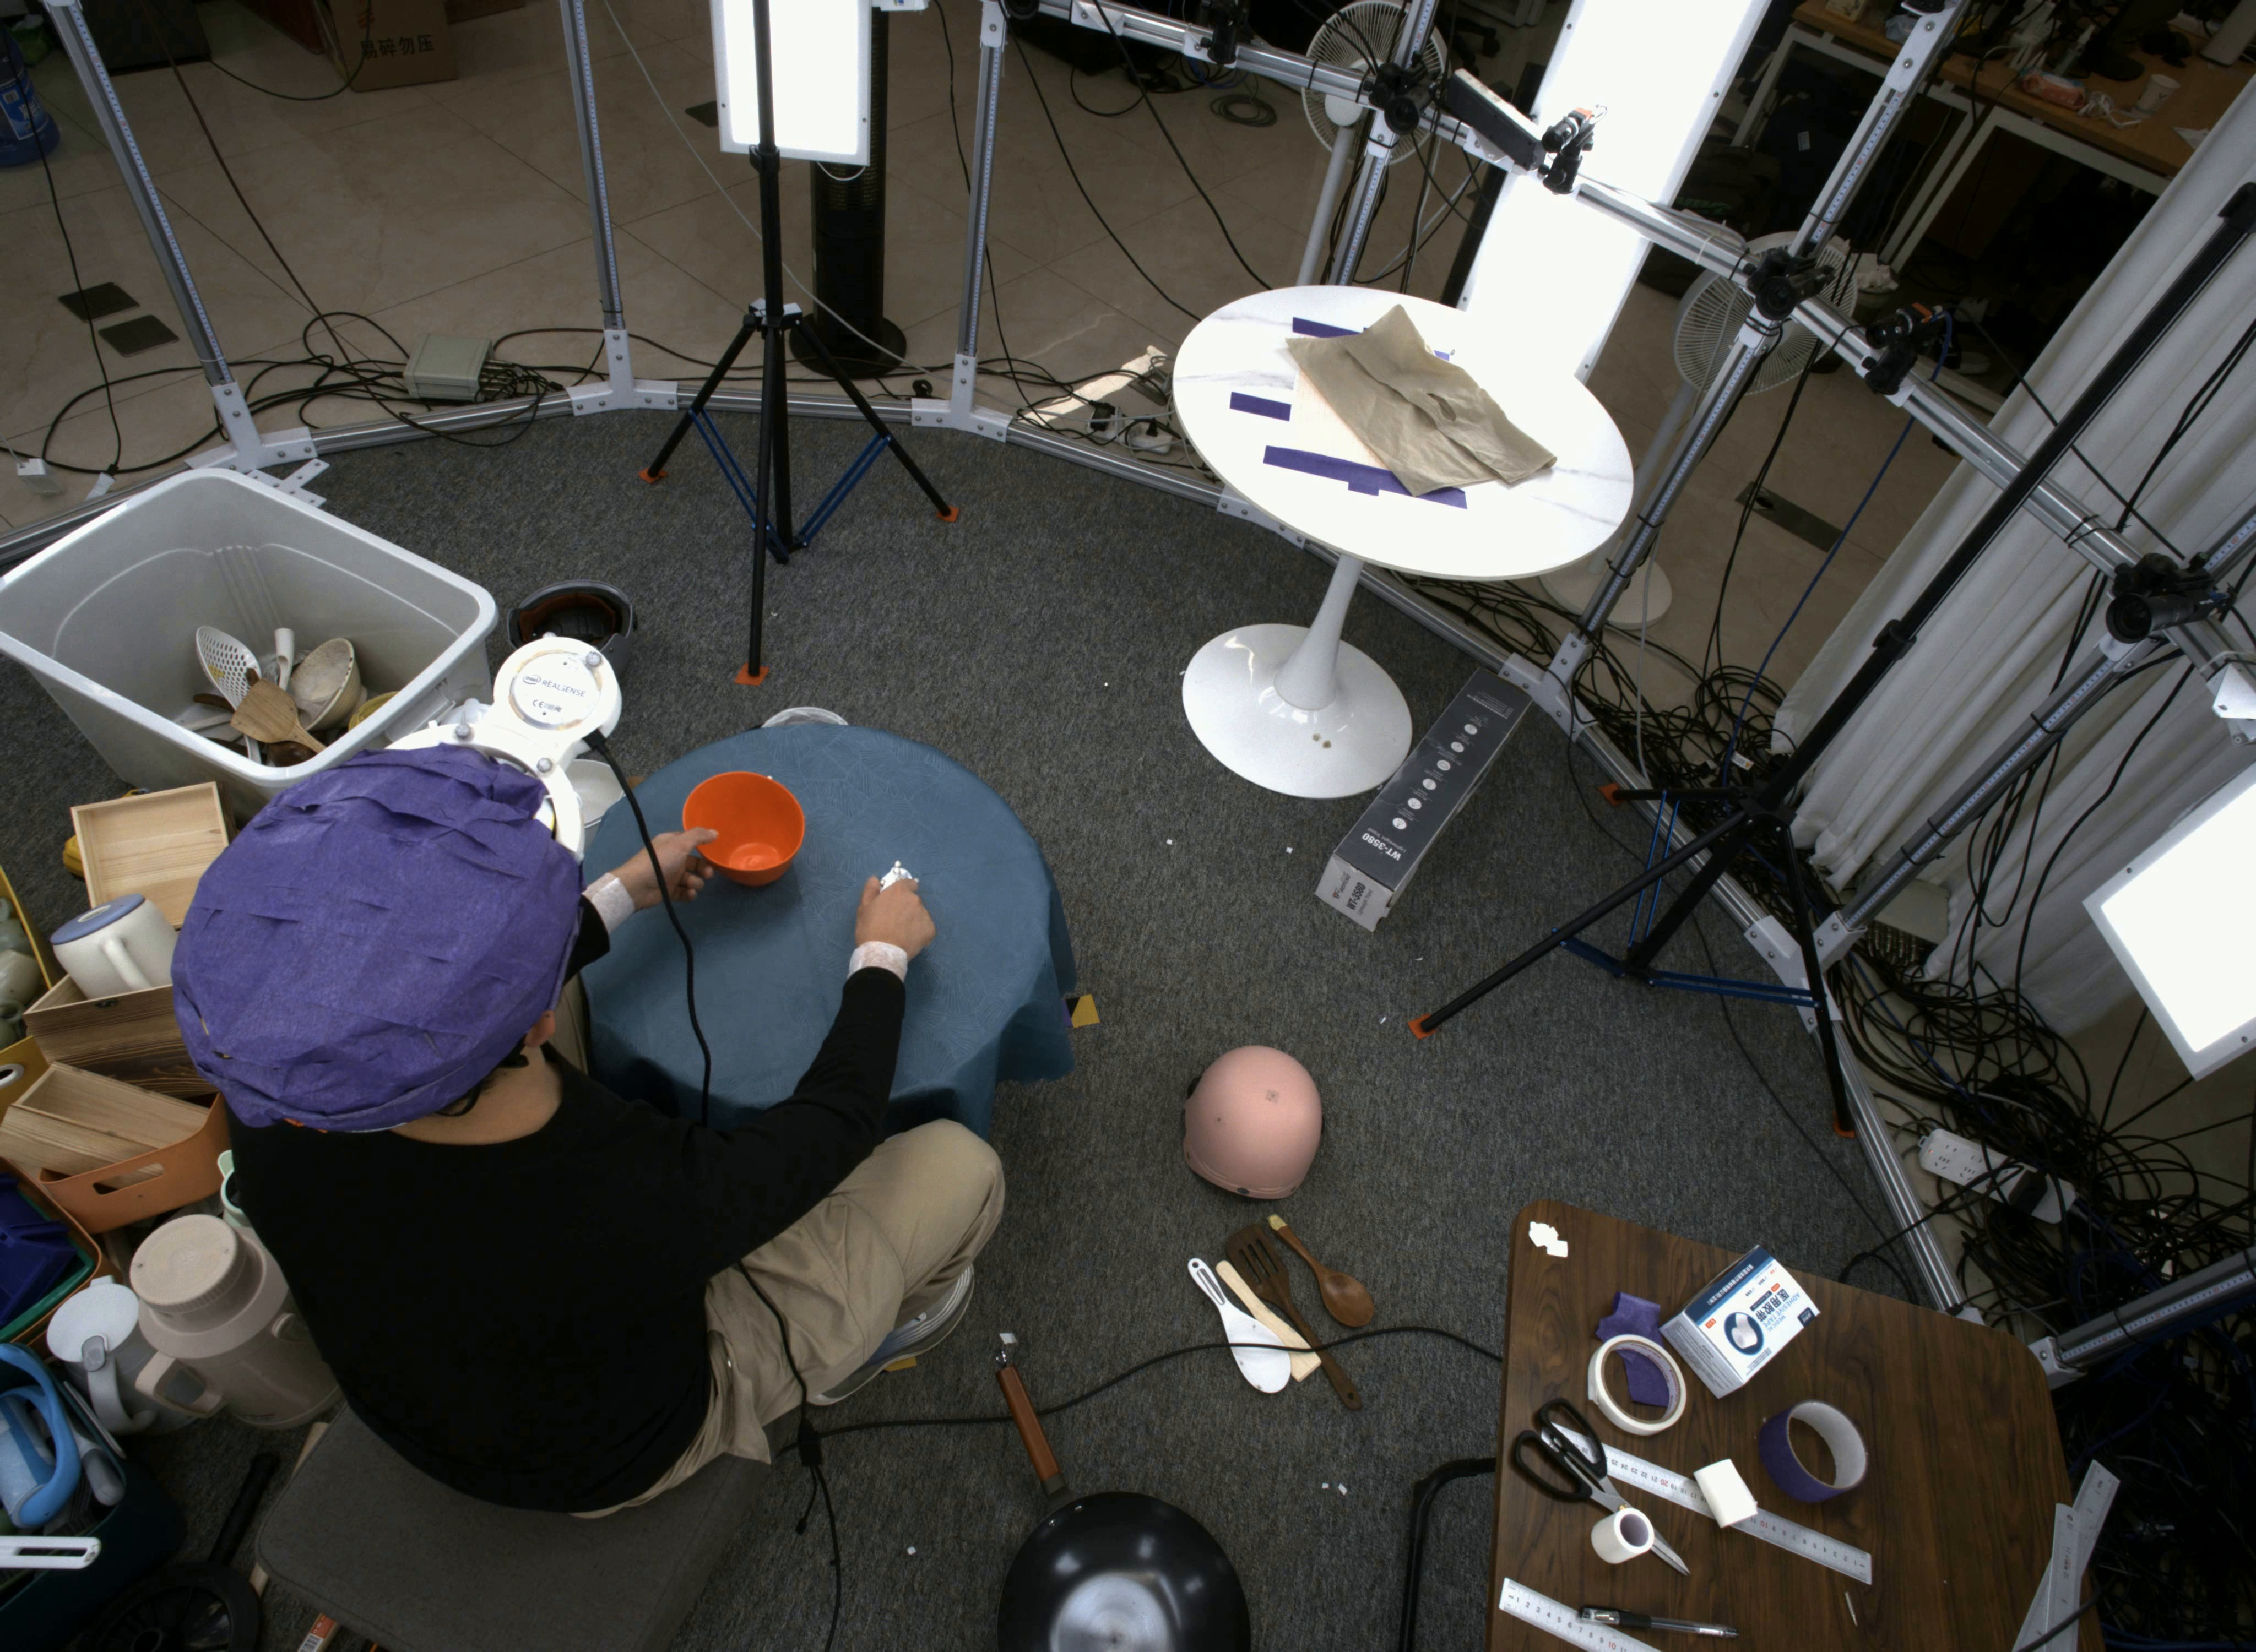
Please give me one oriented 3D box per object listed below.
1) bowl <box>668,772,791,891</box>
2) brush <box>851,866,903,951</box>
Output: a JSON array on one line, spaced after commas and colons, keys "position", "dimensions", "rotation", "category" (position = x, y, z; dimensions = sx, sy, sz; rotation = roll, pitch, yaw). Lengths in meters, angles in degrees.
[{"position": [-0.497, 0.019, 1.622], "dimensions": [0.148, 0.106, 0.145], "rotation": [8, 53, -9], "category": "bowl"}, {"position": [-0.314, 0.094, 1.630], "dimensions": [0.050, 0.074, 0.098], "rotation": [17, 51, 0], "category": "brush"}]
